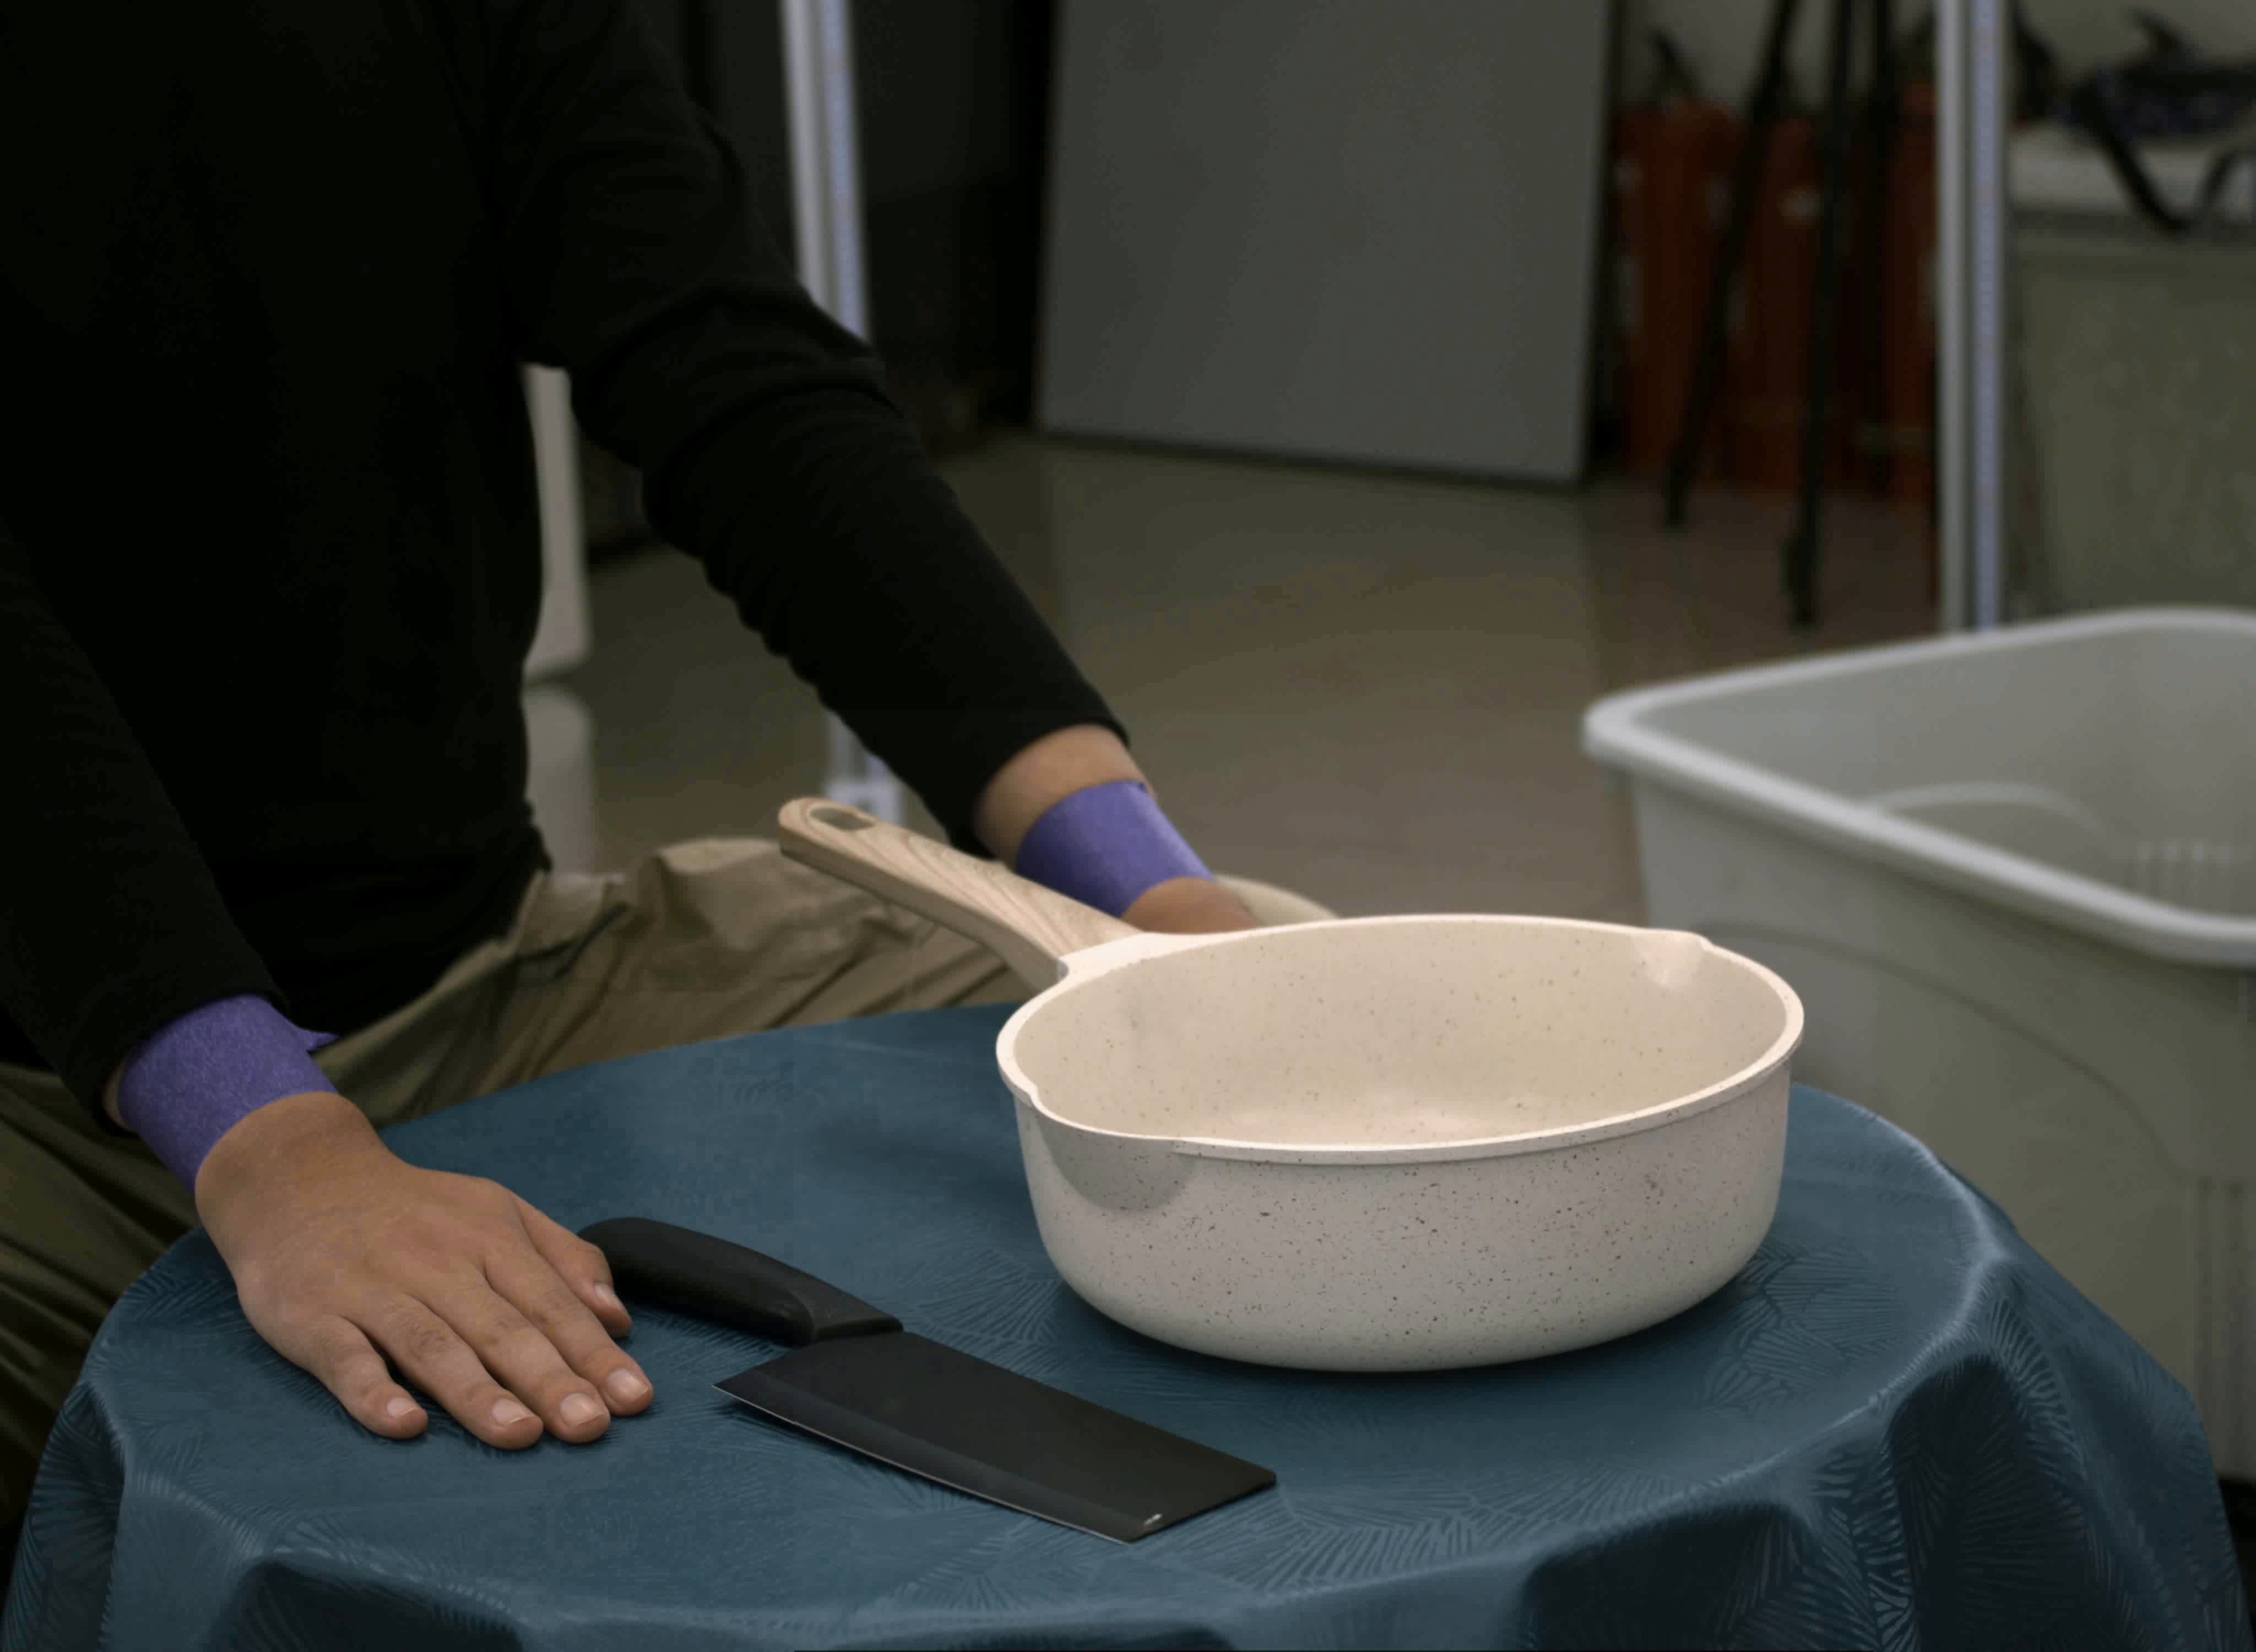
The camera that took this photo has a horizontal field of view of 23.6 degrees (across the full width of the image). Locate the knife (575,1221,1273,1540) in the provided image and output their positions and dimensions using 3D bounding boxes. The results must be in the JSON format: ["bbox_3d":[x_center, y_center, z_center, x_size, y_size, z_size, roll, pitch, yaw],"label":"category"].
[{"bbox_3d":[-0.075,0.163,1.601,0.079,0.021,0.305,-15,19,-33],"label":"knife"}]

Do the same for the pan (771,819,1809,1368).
[{"bbox_3d":[0.029,0.077,1.739,0.258,0.103,0.439,-17,19,-37],"label":"pan"}]
